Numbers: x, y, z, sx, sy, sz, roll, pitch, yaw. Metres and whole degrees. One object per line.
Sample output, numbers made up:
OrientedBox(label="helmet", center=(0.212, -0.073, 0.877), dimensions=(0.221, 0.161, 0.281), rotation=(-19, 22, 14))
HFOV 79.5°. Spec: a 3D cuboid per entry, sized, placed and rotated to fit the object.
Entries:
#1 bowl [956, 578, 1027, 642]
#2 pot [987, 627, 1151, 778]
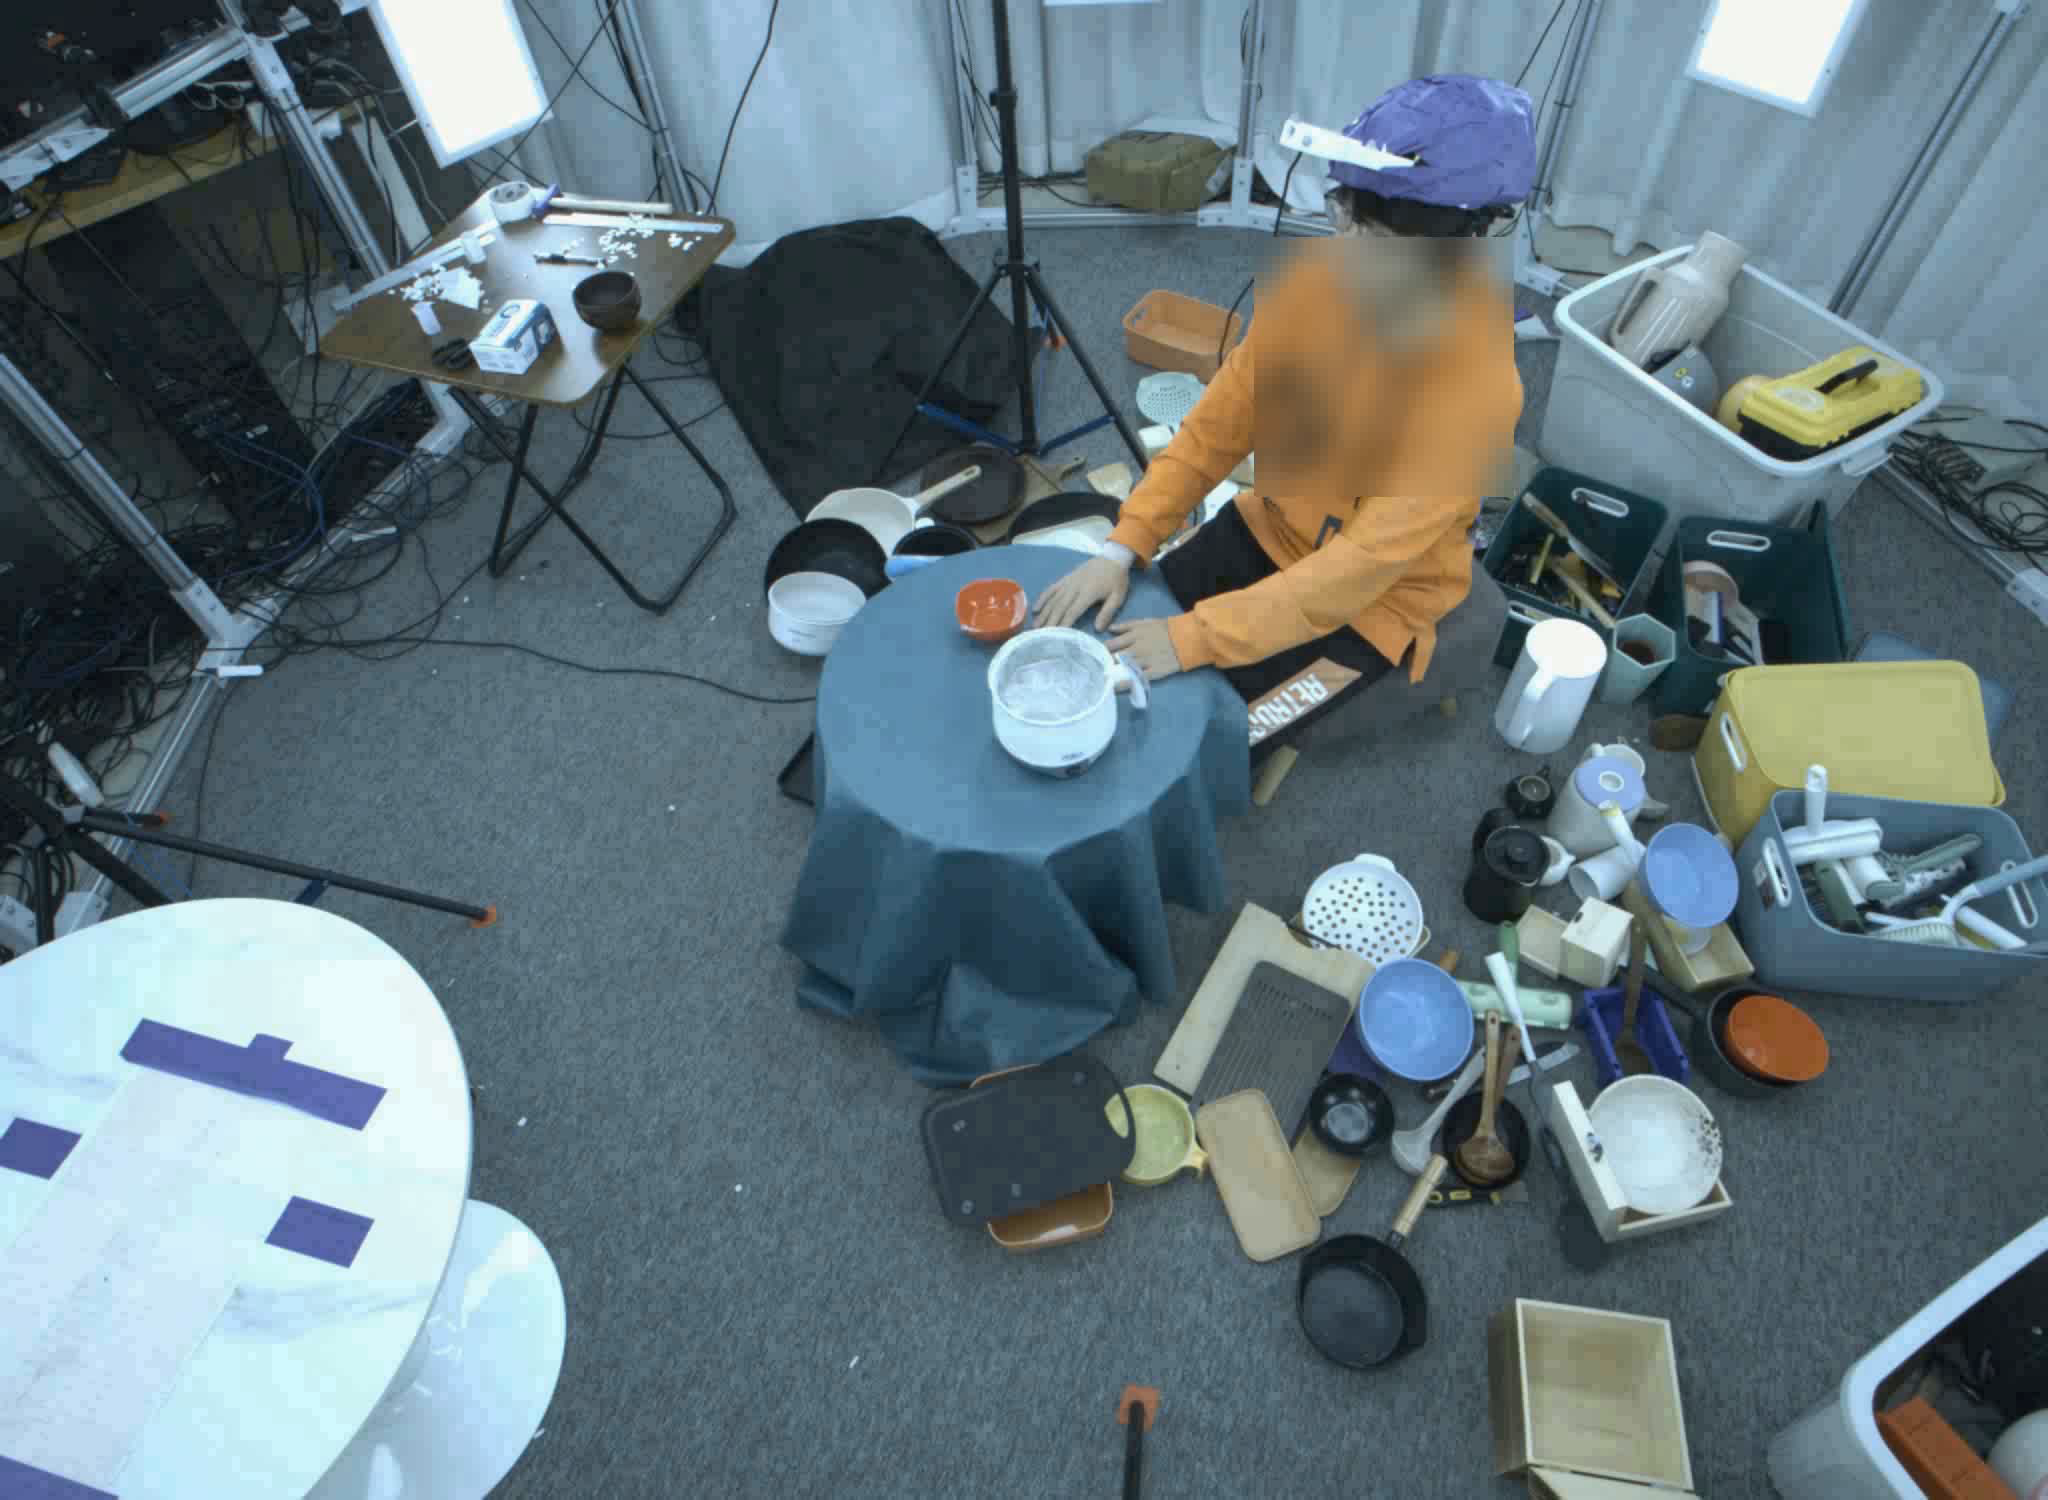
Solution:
OrientedBox(label="bowl", center=(-0.049, -0.211, 1.906), dimensions=(0.119, 0.052, 0.117), rotation=(-1, 54, 3))
OrientedBox(label="pot", center=(0.068, -0.075, 1.753), dimensions=(0.235, 0.138, 0.175), rotation=(-17, 56, -9))
